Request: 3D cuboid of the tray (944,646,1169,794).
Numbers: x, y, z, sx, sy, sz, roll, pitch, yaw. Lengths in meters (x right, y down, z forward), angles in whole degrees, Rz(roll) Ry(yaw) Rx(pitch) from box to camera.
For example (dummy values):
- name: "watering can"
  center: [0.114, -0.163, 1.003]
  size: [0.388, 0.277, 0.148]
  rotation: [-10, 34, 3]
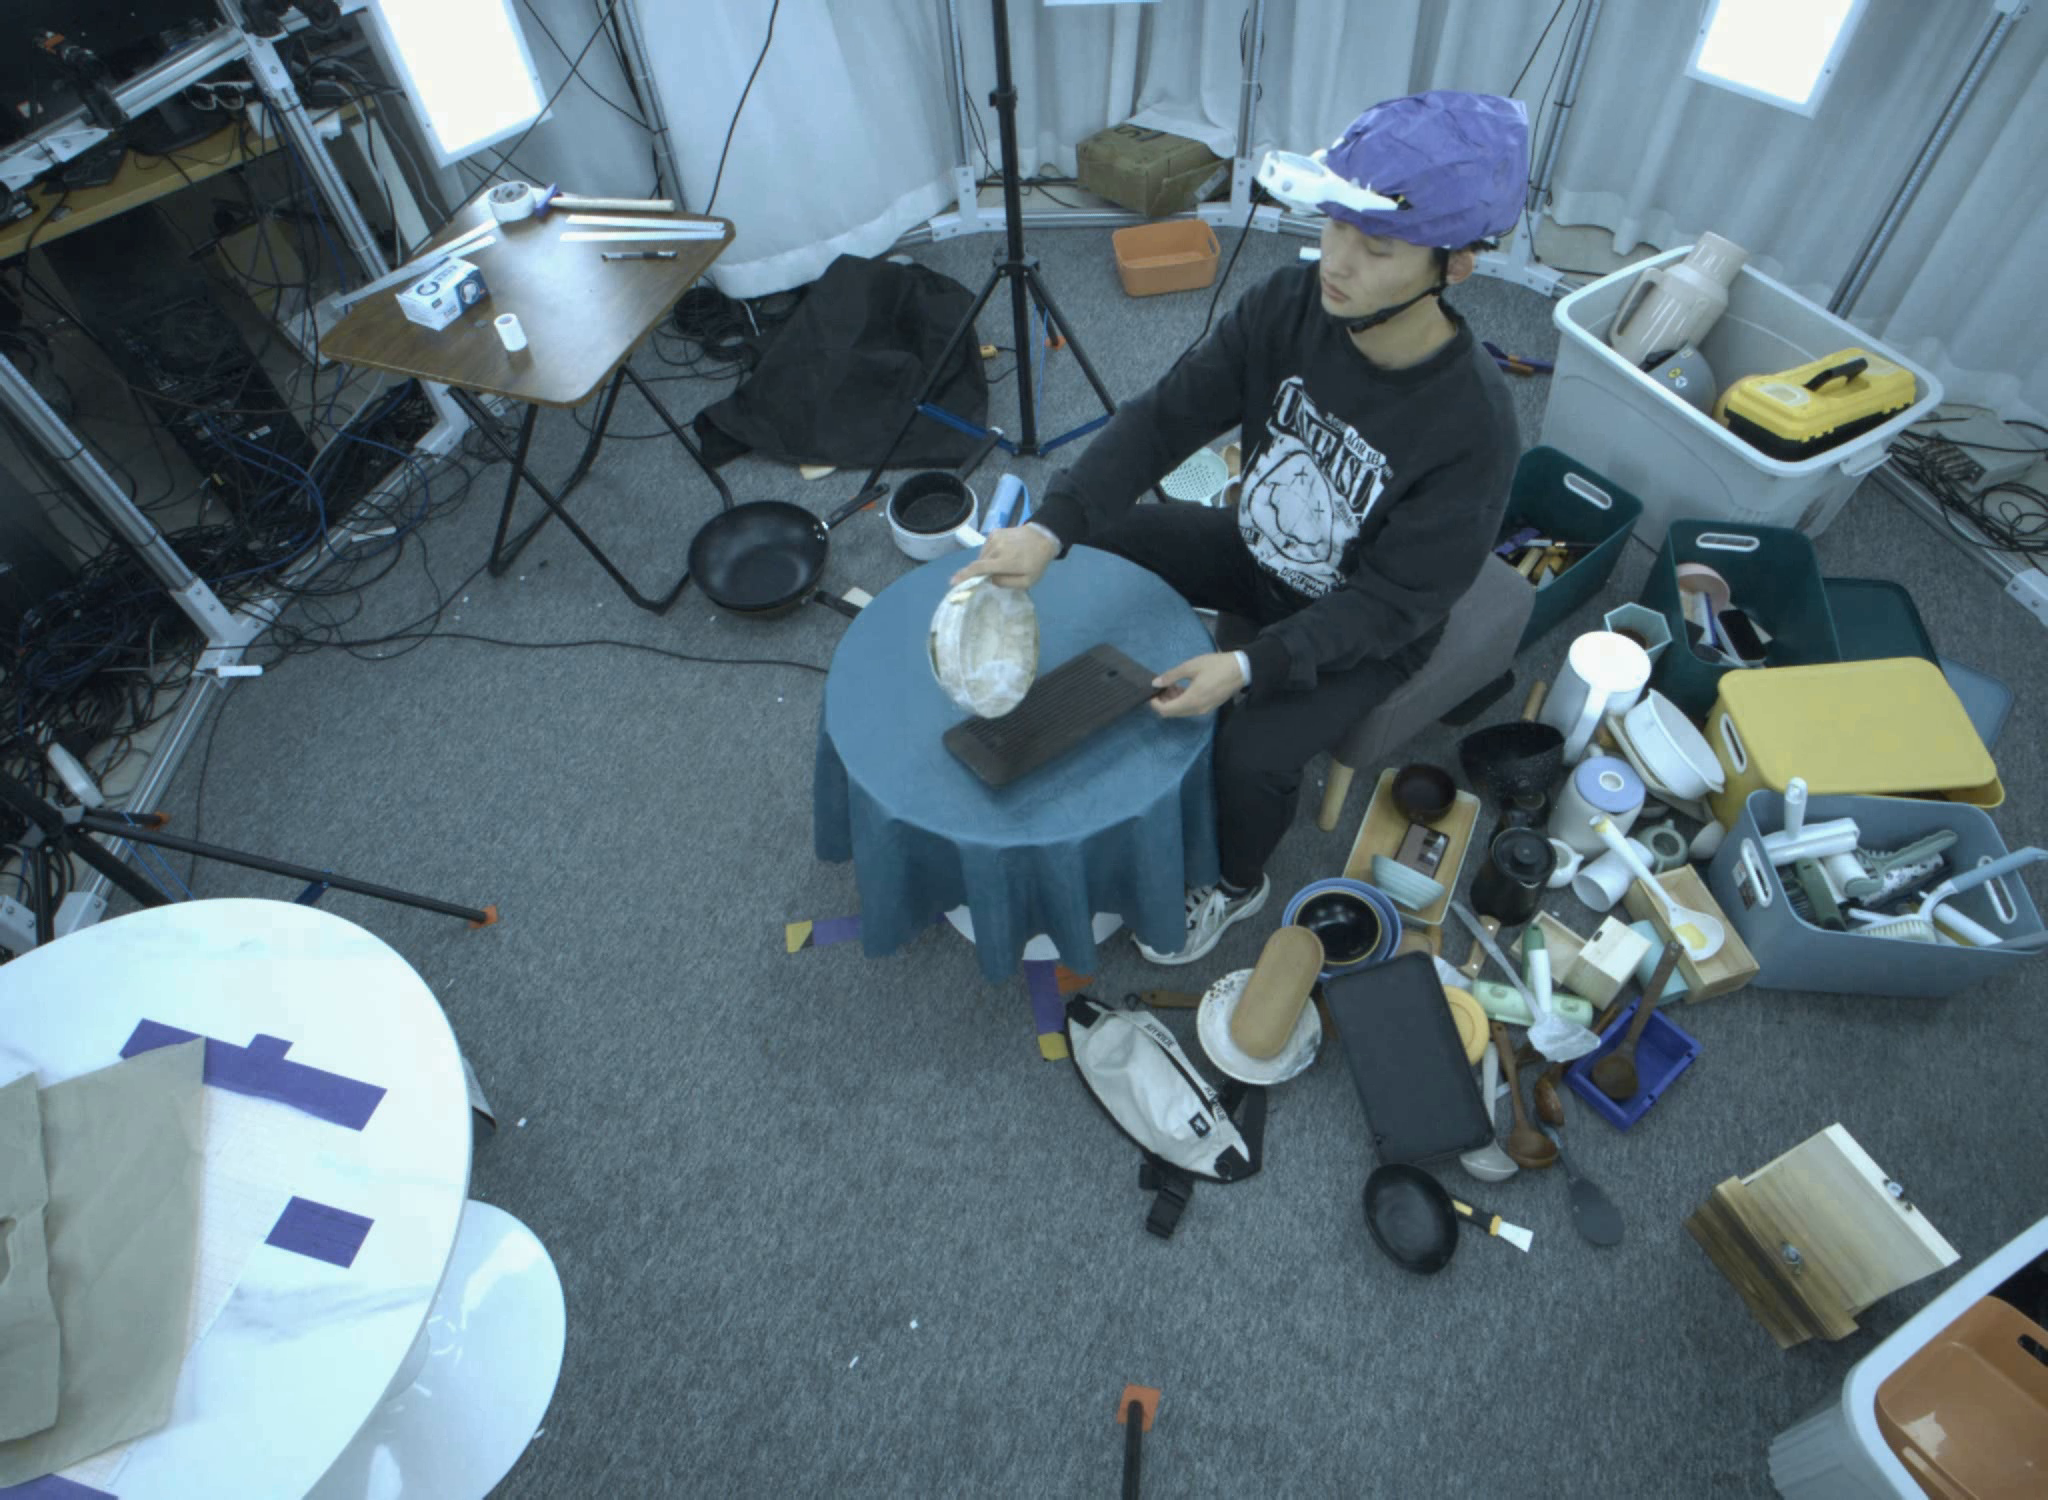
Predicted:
- name: "tray"
  center: [0.048, -0.046, 1.789]
  size: [0.308, 0.019, 0.166]
  rotation: [-31, 41, -19]

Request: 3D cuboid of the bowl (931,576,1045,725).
- name: "bowl"
  center: [-0.063, -0.139, 1.708]
  size: [0.093, 0.219, 0.215]
  rotation: [6, 53, 32]
